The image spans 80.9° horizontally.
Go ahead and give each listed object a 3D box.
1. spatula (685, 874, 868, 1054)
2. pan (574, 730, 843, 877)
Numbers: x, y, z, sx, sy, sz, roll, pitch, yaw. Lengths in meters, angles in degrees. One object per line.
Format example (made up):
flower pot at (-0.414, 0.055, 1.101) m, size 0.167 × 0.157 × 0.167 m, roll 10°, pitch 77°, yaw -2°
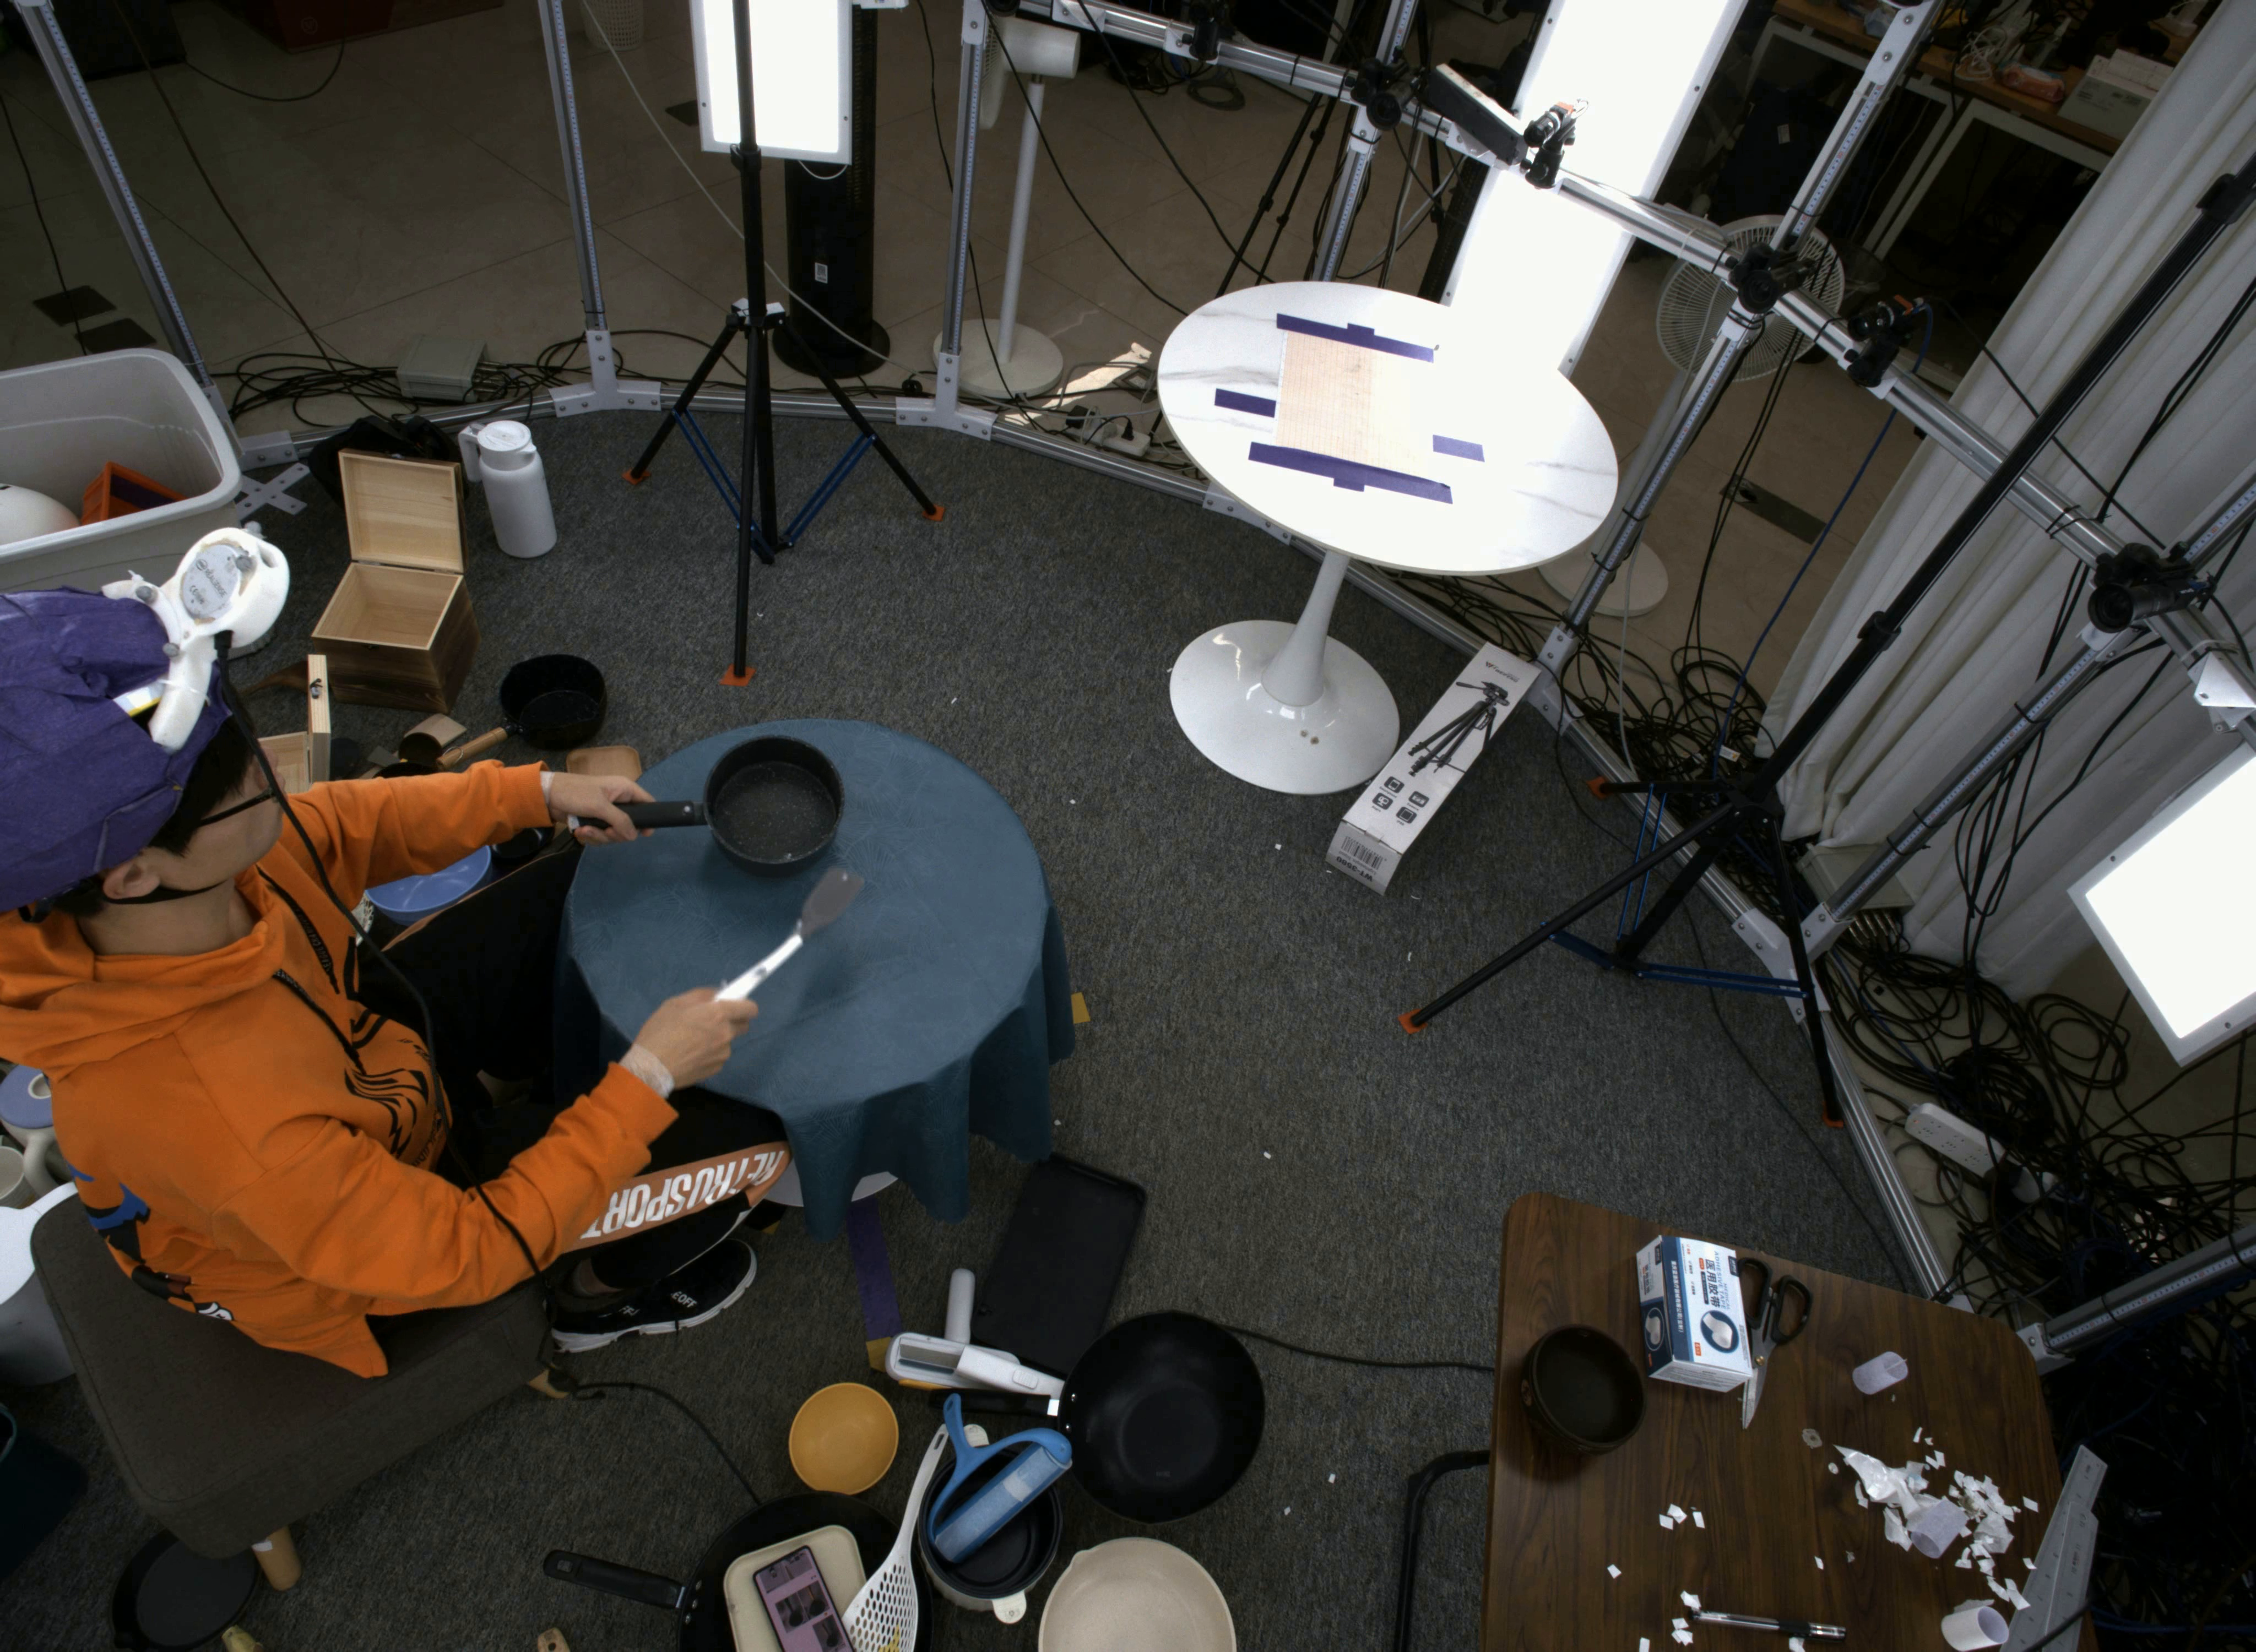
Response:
spatula at (-0.396, 0.148, 1.469) m, size 0.057 × 0.033 × 0.286 m, roll 16°, pitch 41°, yaw 21°
pan at (-0.520, -0.020, 1.593) m, size 0.330 × 0.086 × 0.171 m, roll -4°, pitch 72°, yaw -20°
